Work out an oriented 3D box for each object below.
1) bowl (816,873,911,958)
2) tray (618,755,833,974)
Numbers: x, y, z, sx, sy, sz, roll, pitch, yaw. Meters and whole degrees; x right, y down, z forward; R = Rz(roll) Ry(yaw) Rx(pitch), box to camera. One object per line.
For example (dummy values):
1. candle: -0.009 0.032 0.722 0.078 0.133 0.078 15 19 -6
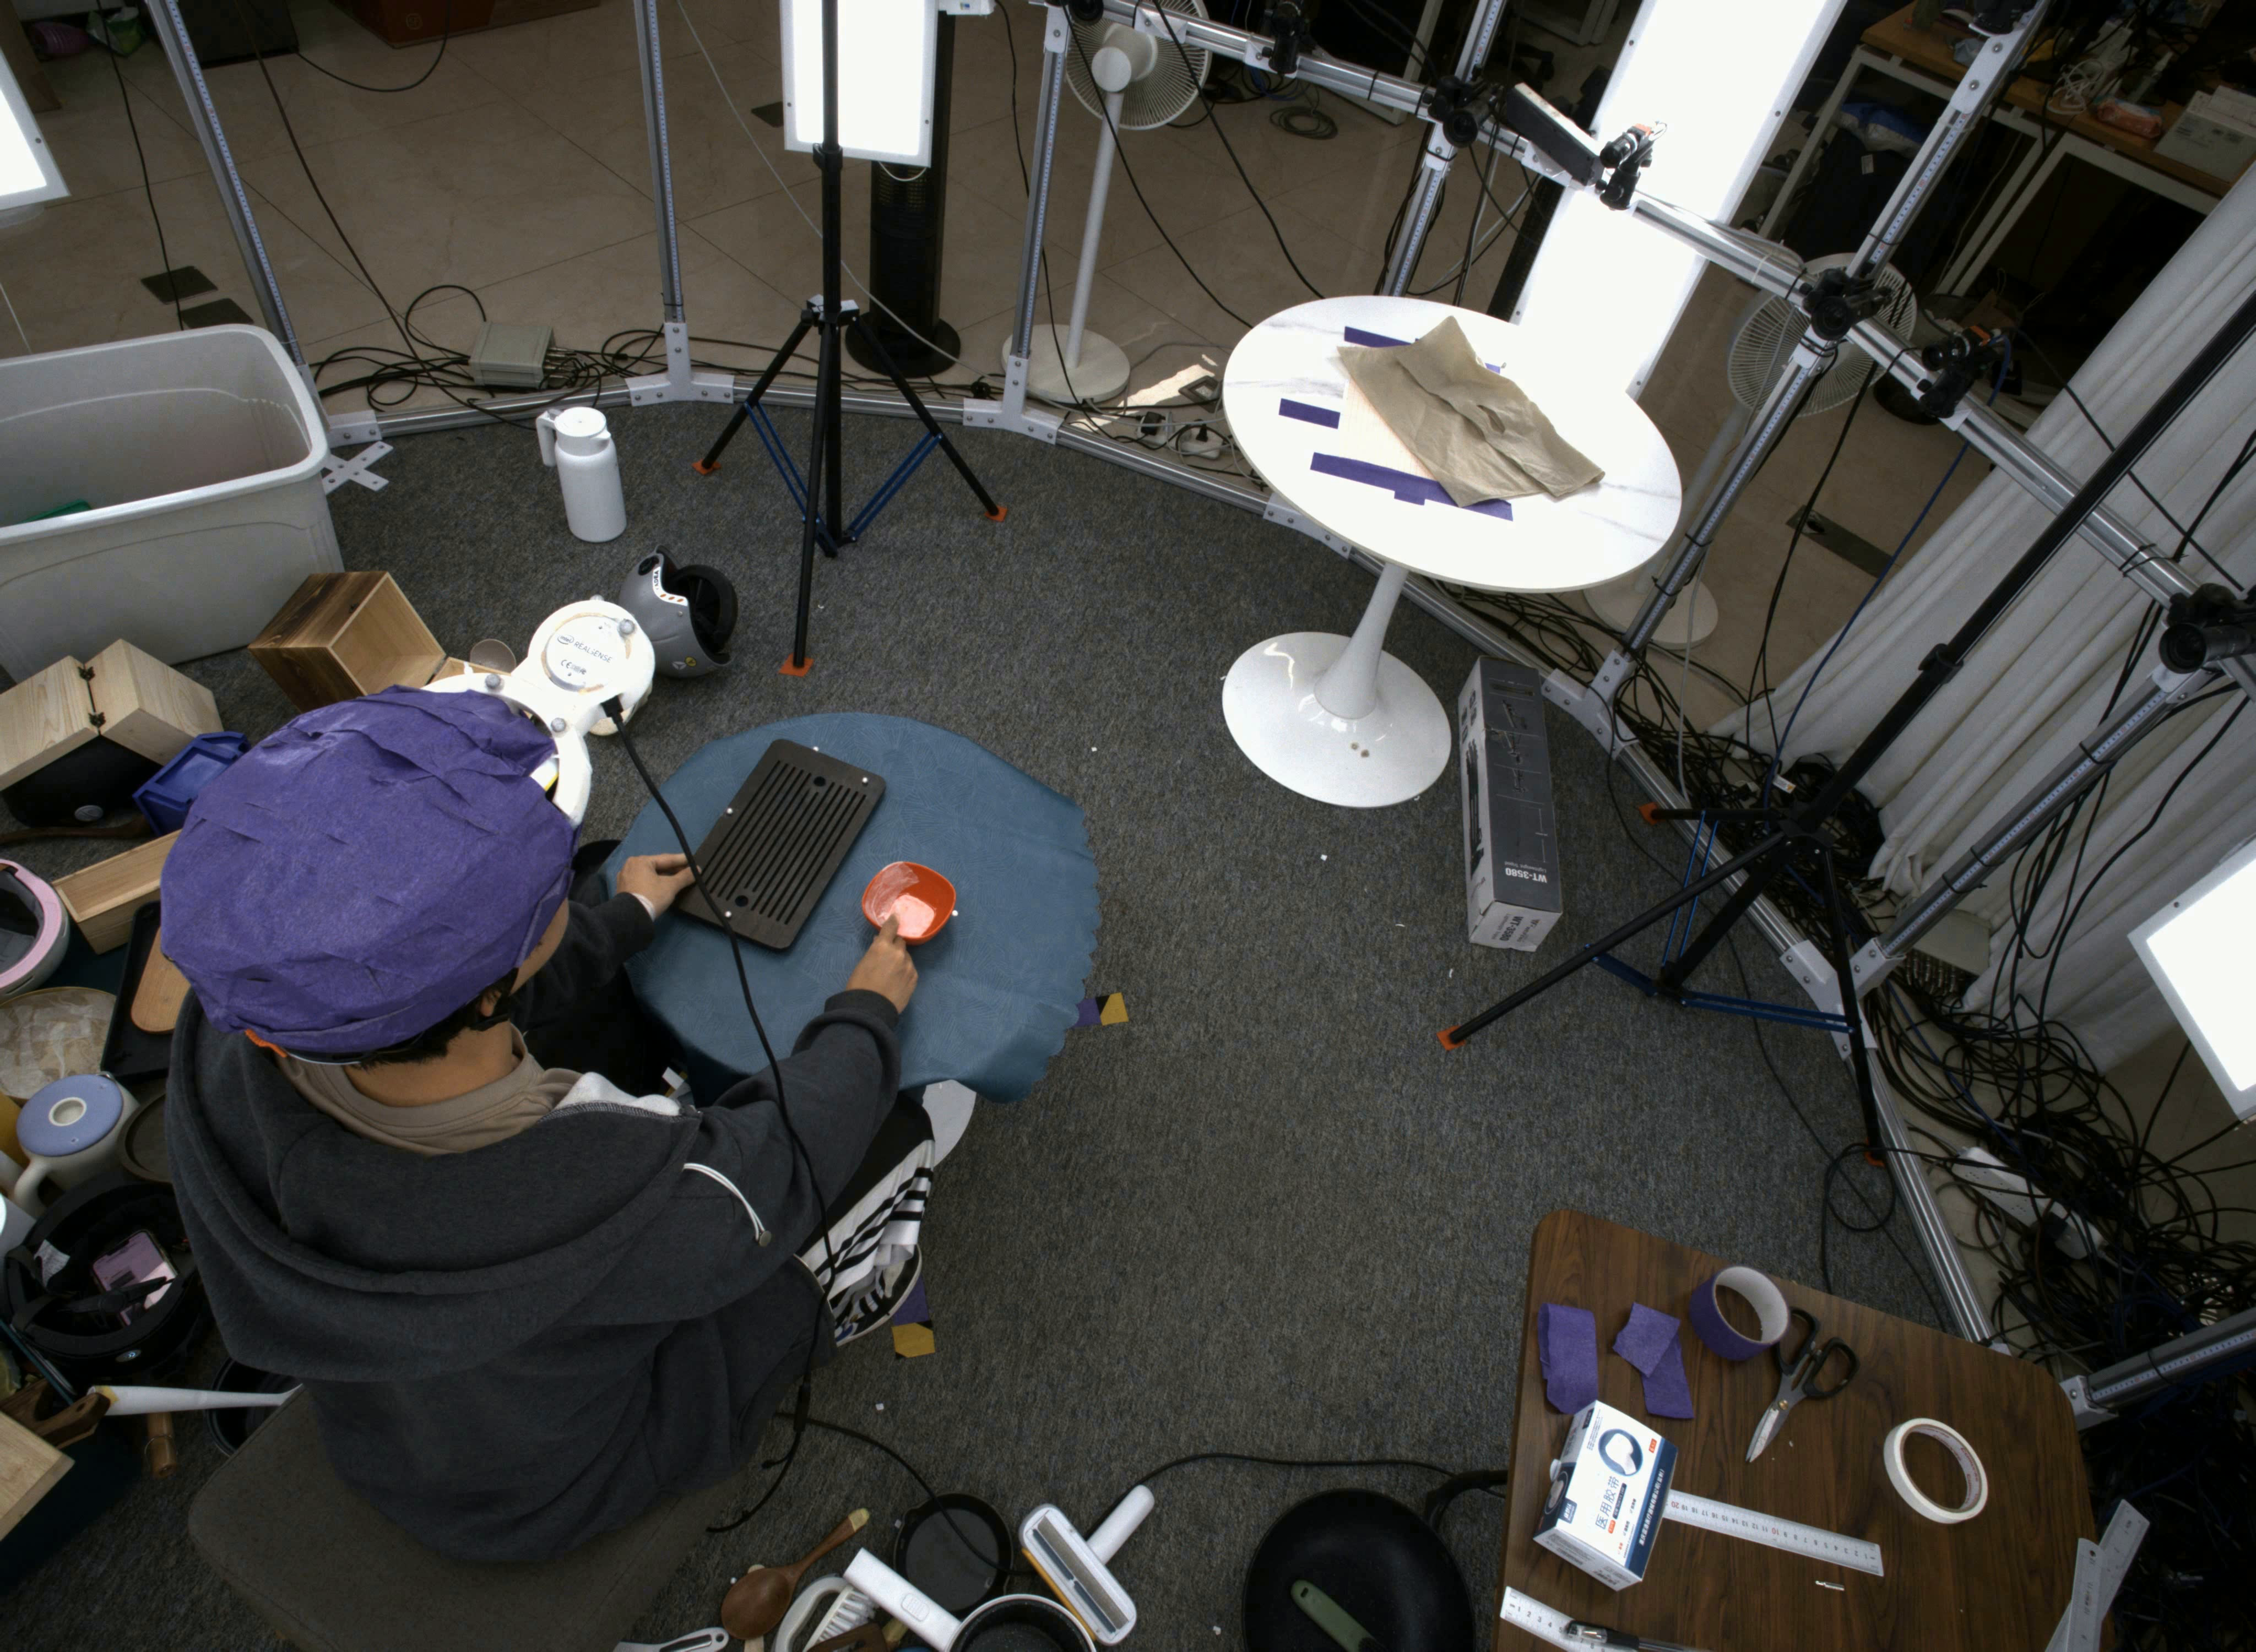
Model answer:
1. bowl: -0.332 0.119 1.628 0.119 0.052 0.117 9 50 -9
2. tray: -0.513 0.043 1.660 0.169 0.019 0.302 20 52 -2
